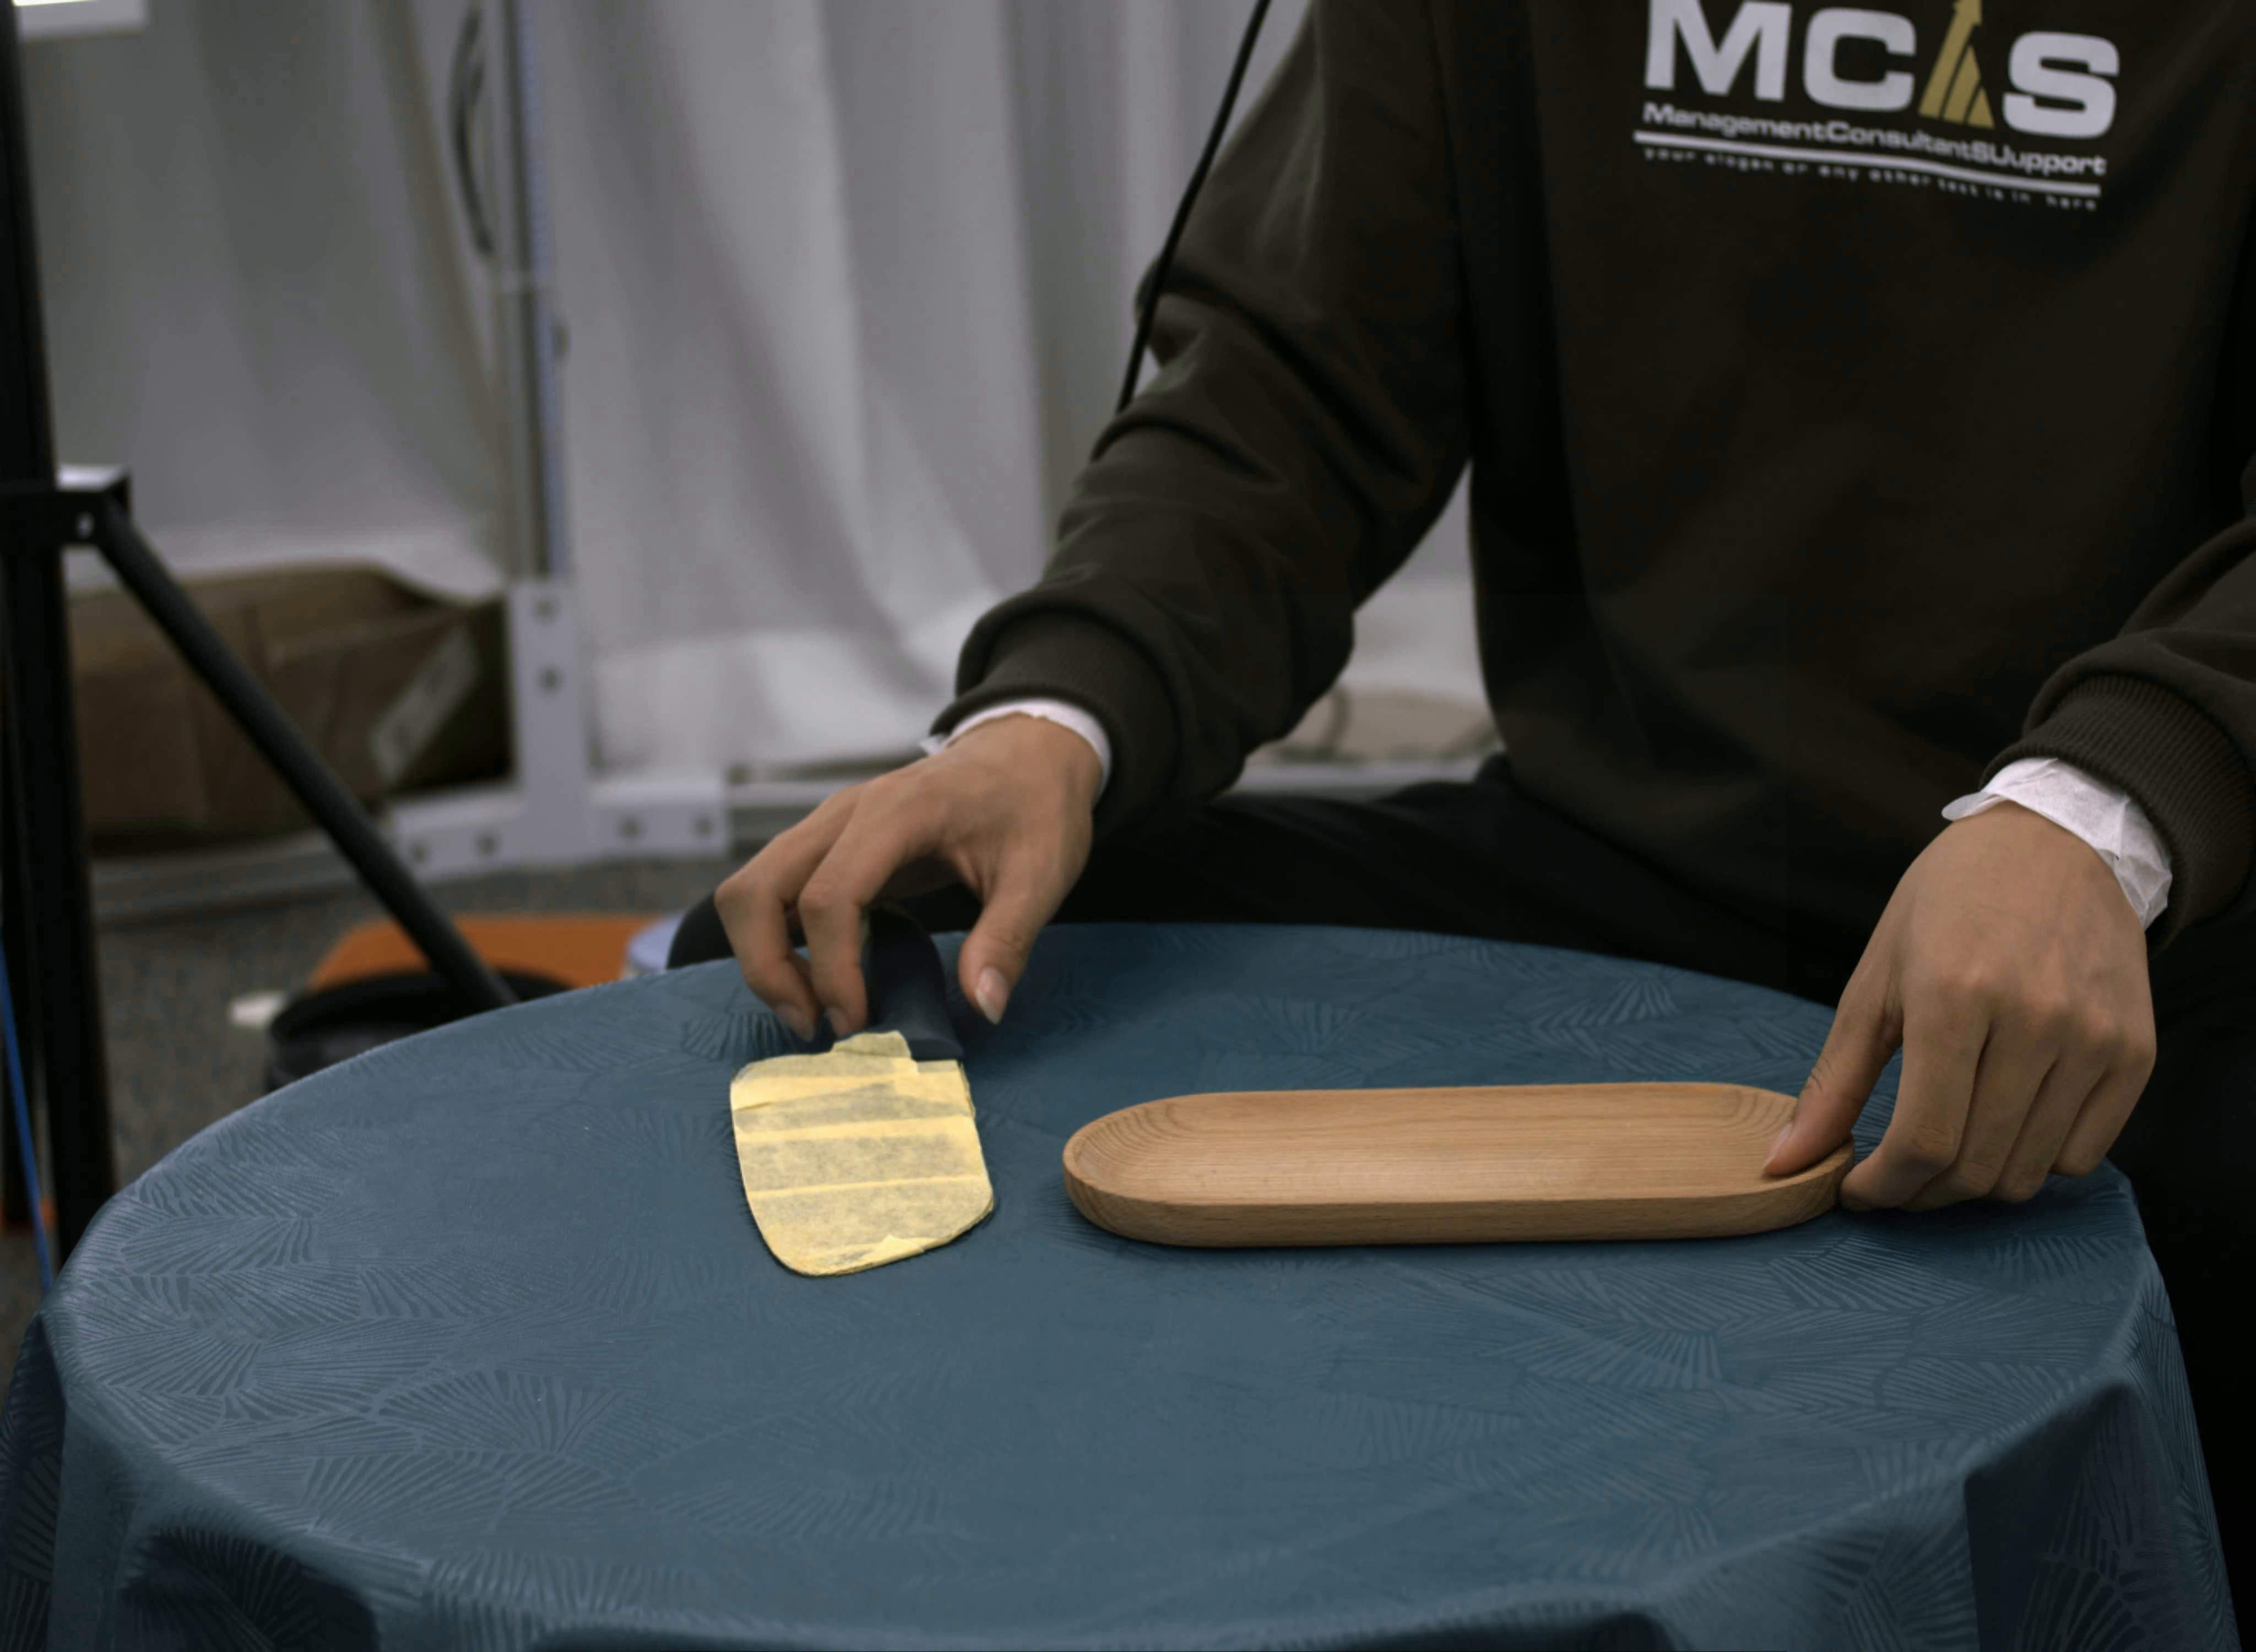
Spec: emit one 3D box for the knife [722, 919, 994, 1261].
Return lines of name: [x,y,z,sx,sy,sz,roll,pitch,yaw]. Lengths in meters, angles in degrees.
knife: [-0.085,0.081,1.643,0.080,0.027,0.291,0,17,-4]

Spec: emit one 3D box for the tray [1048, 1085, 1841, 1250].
tray: [0.092,0.100,1.546,0.231,0.020,0.102,-3,14,4]
